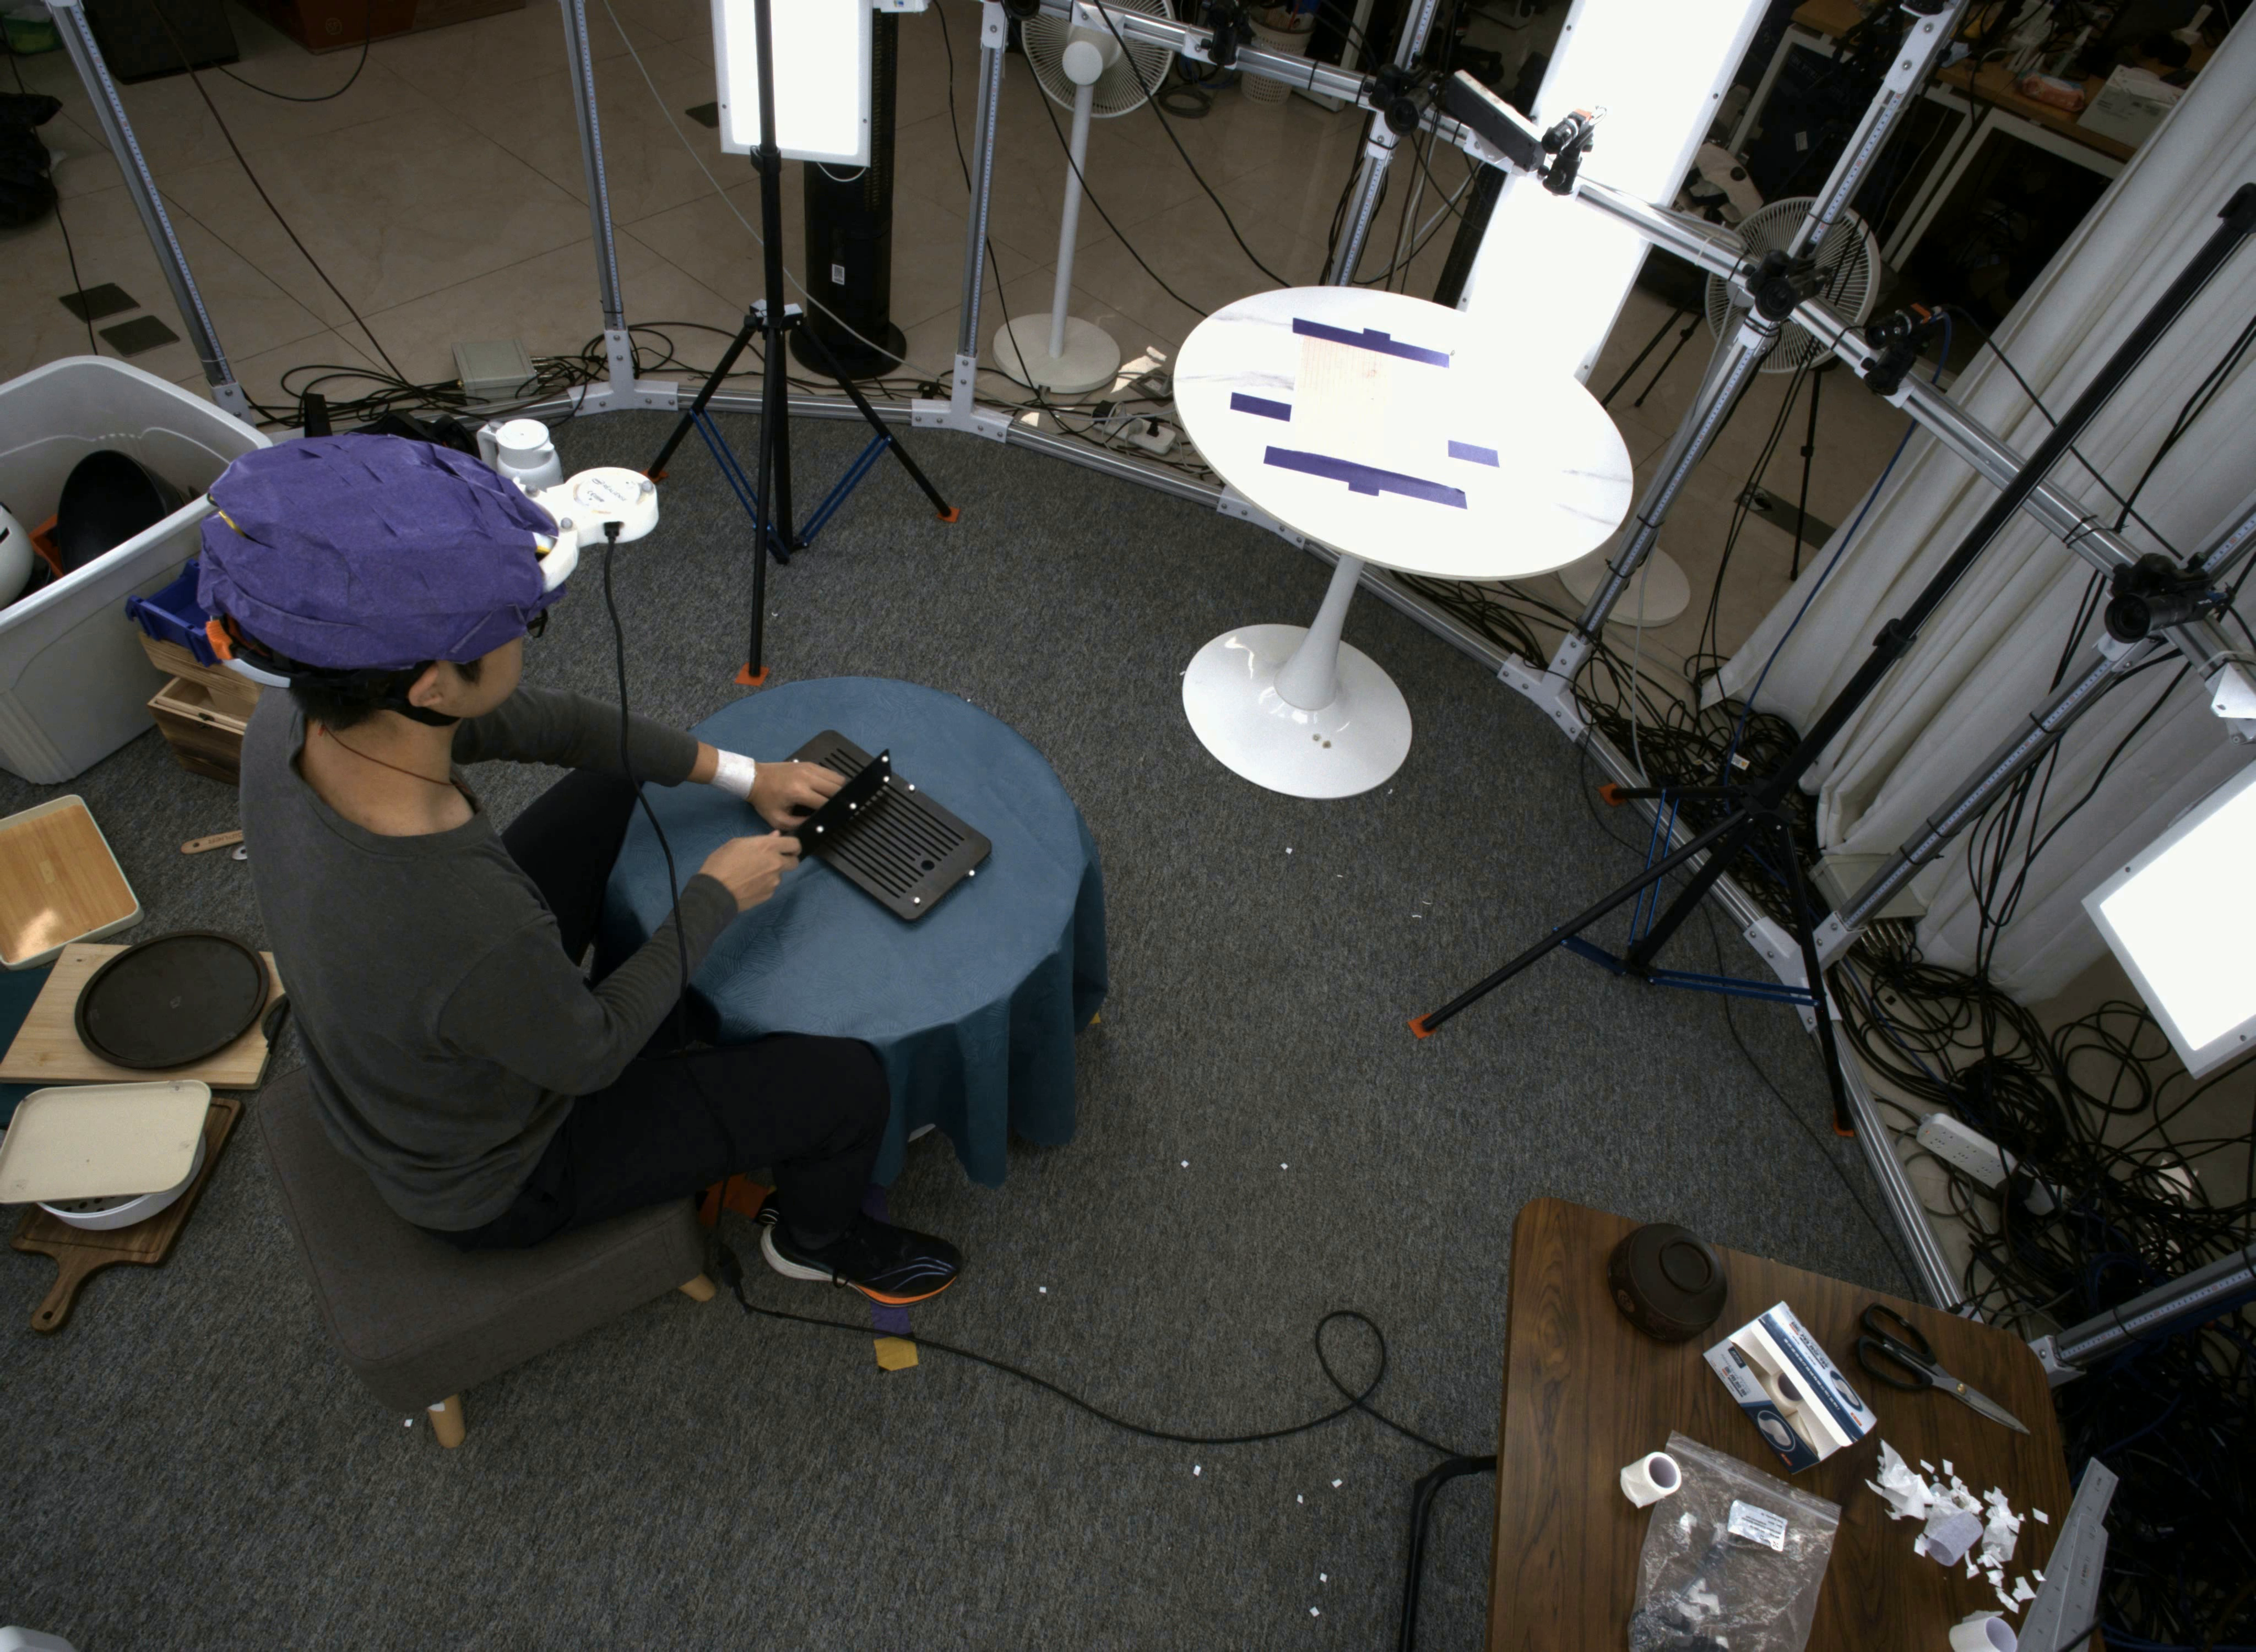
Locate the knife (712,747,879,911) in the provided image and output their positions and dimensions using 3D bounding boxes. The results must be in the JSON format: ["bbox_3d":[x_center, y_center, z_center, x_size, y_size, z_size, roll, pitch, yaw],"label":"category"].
[{"bbox_3d":[-0.420,0.005,1.661,0.020,0.083,0.302,28,50,19],"label":"knife"}]

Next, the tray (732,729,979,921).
[{"bbox_3d":[-0.365,-0.005,1.742,0.300,0.019,0.170,34,54,12],"label":"tray"}]
